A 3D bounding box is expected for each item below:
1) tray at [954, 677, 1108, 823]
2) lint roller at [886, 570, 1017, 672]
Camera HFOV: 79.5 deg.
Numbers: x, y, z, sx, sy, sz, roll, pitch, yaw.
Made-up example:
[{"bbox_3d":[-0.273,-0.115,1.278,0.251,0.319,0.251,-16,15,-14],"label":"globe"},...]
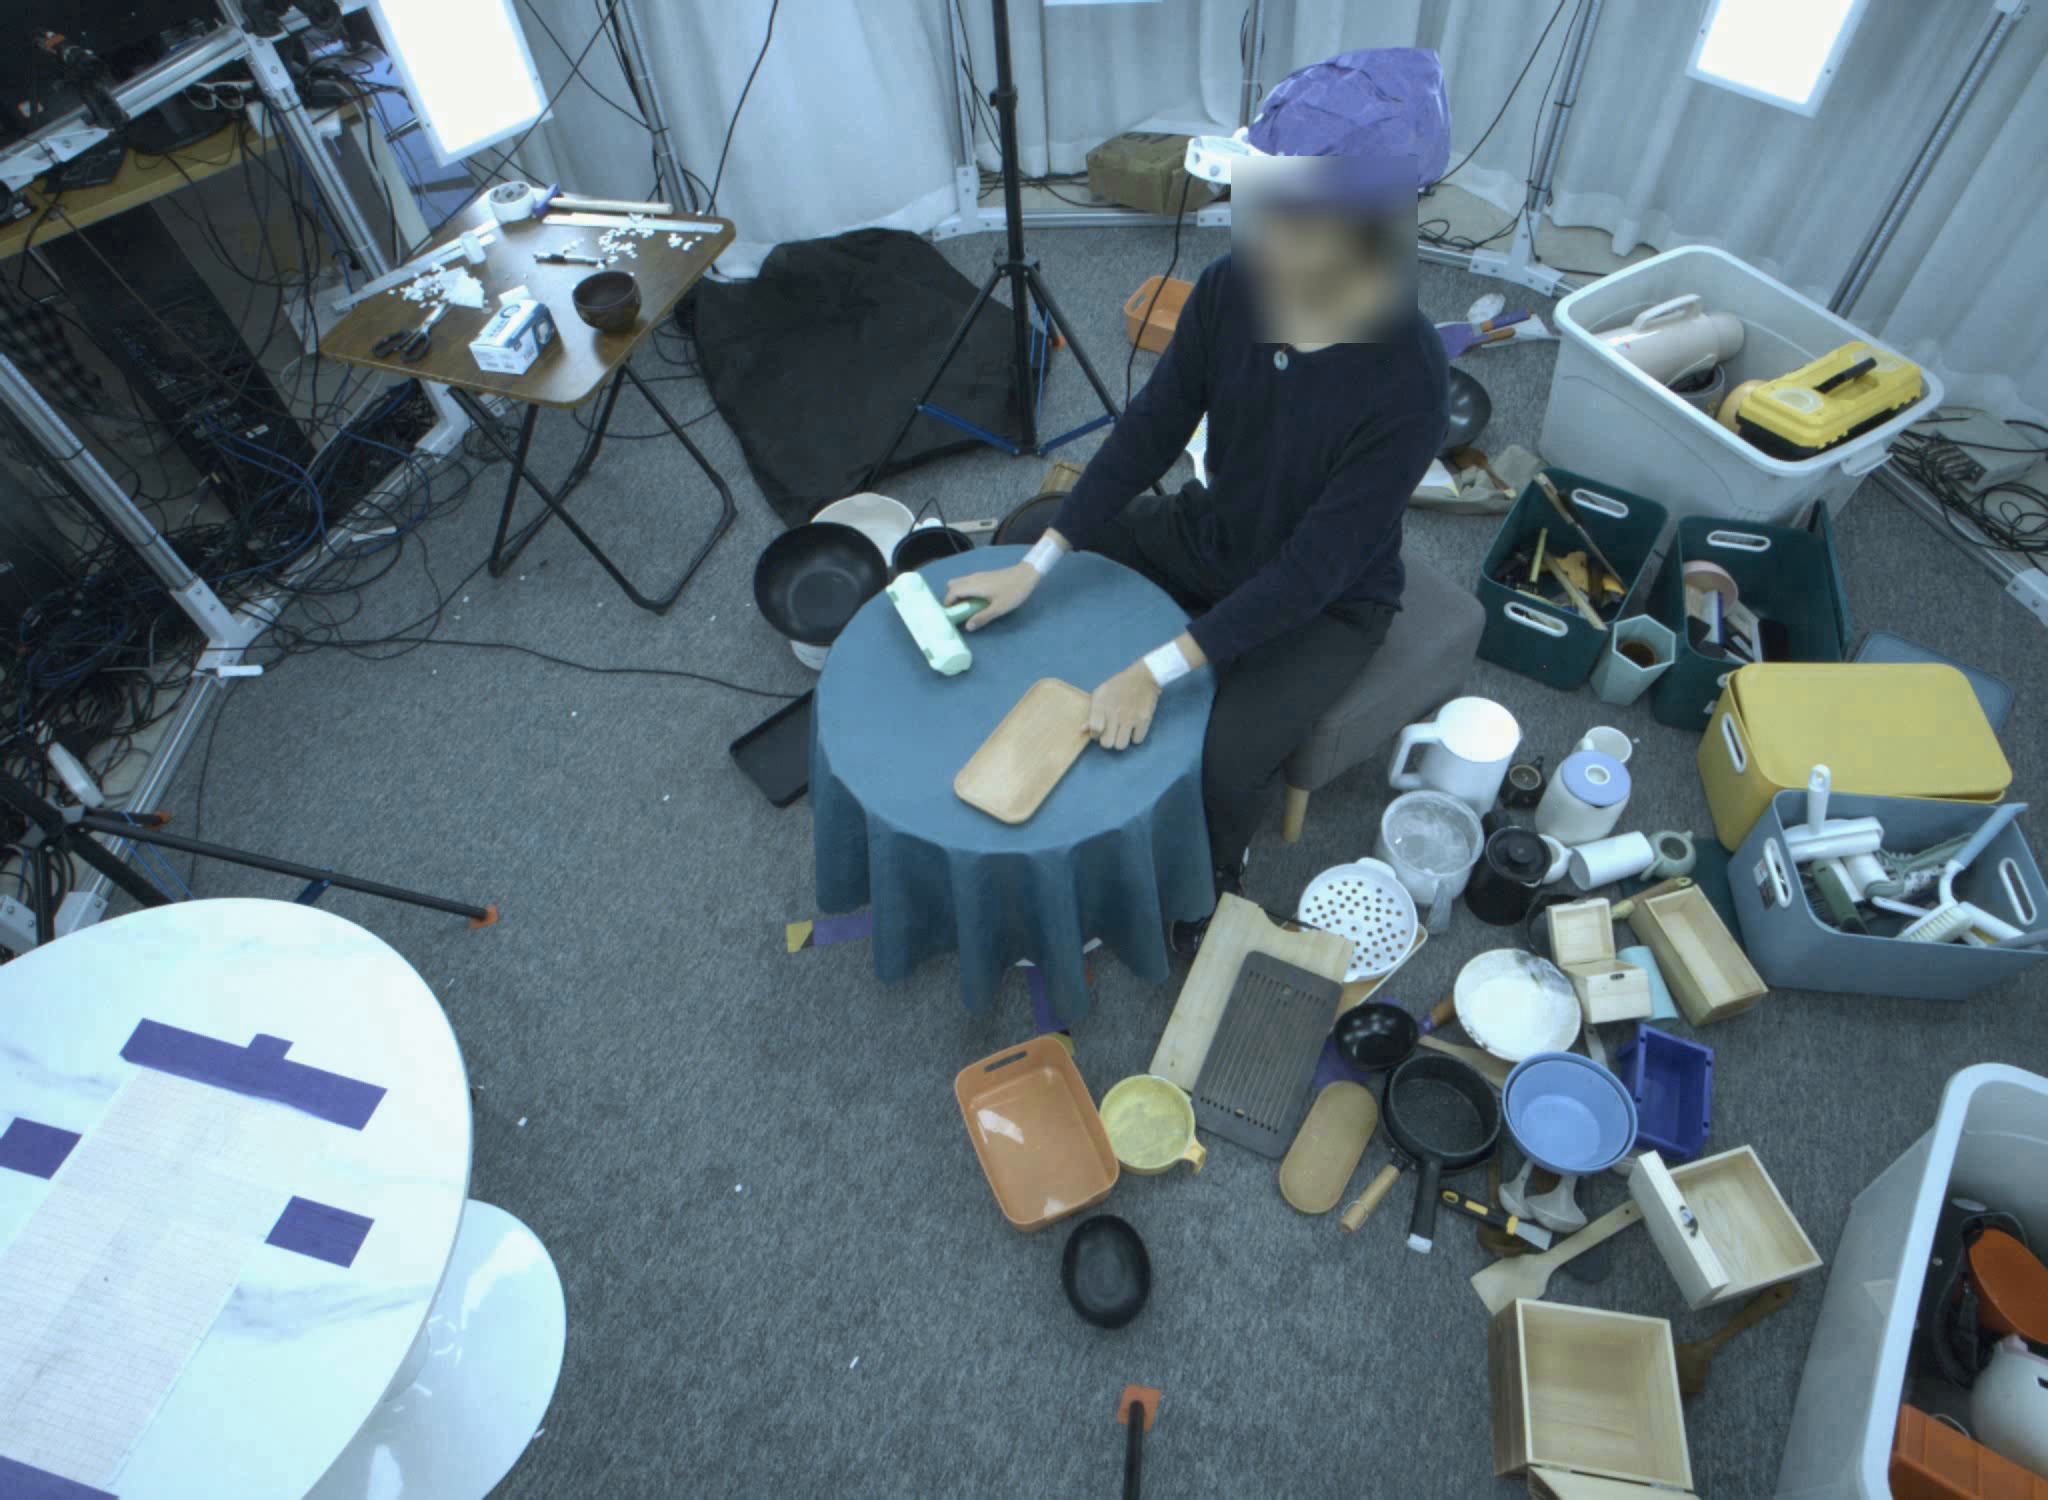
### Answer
[{"bbox_3d":[0.012,-0.003,1.779,0.129,0.023,0.252,29,60,19],"label":"tray"},{"bbox_3d":[-0.097,-0.229,1.899,0.184,0.083,0.195,-28,59,-9],"label":"lint roller"}]
